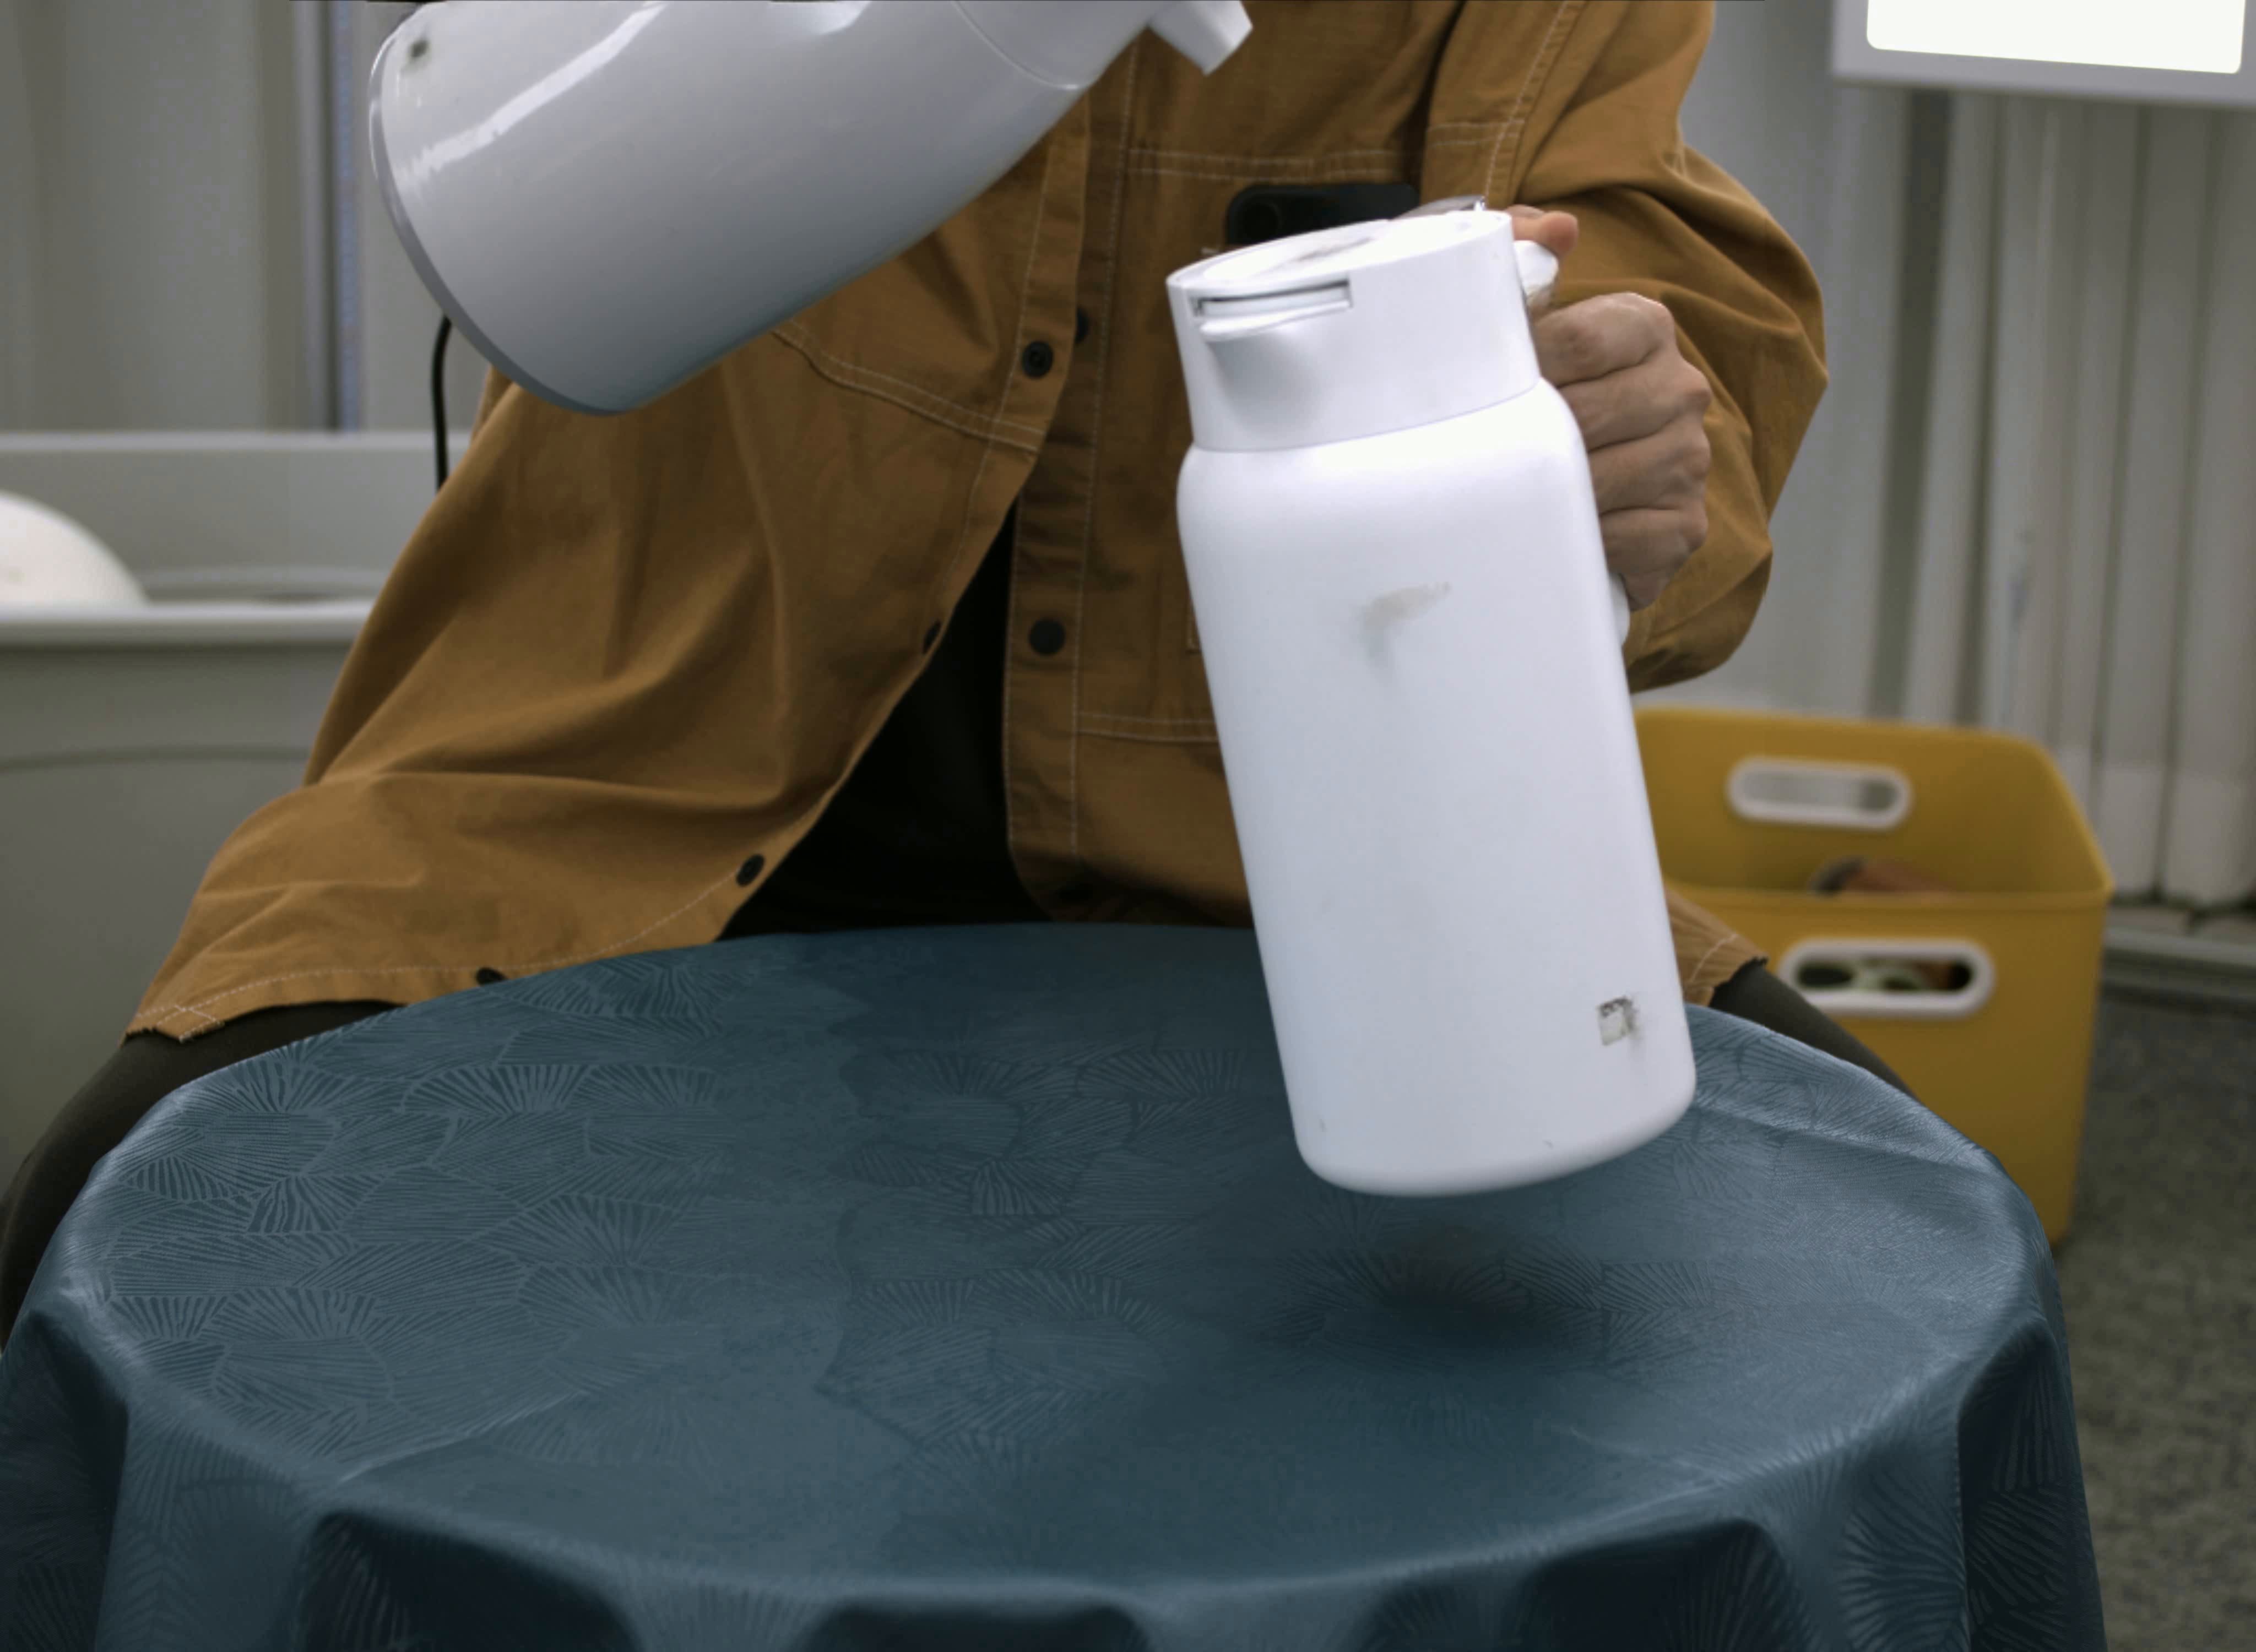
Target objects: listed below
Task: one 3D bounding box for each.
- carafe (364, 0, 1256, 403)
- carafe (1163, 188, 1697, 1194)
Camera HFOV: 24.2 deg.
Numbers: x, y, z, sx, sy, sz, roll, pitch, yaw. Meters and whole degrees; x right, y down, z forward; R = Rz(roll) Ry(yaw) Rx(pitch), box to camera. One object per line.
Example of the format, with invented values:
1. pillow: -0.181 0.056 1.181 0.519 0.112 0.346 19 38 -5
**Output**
1. carafe: -0.091 -0.244 1.469 0.247 0.169 0.132 -26 18 30
2. carafe: 0.091 -0.042 1.502 0.122 0.271 0.173 -5 14 34
